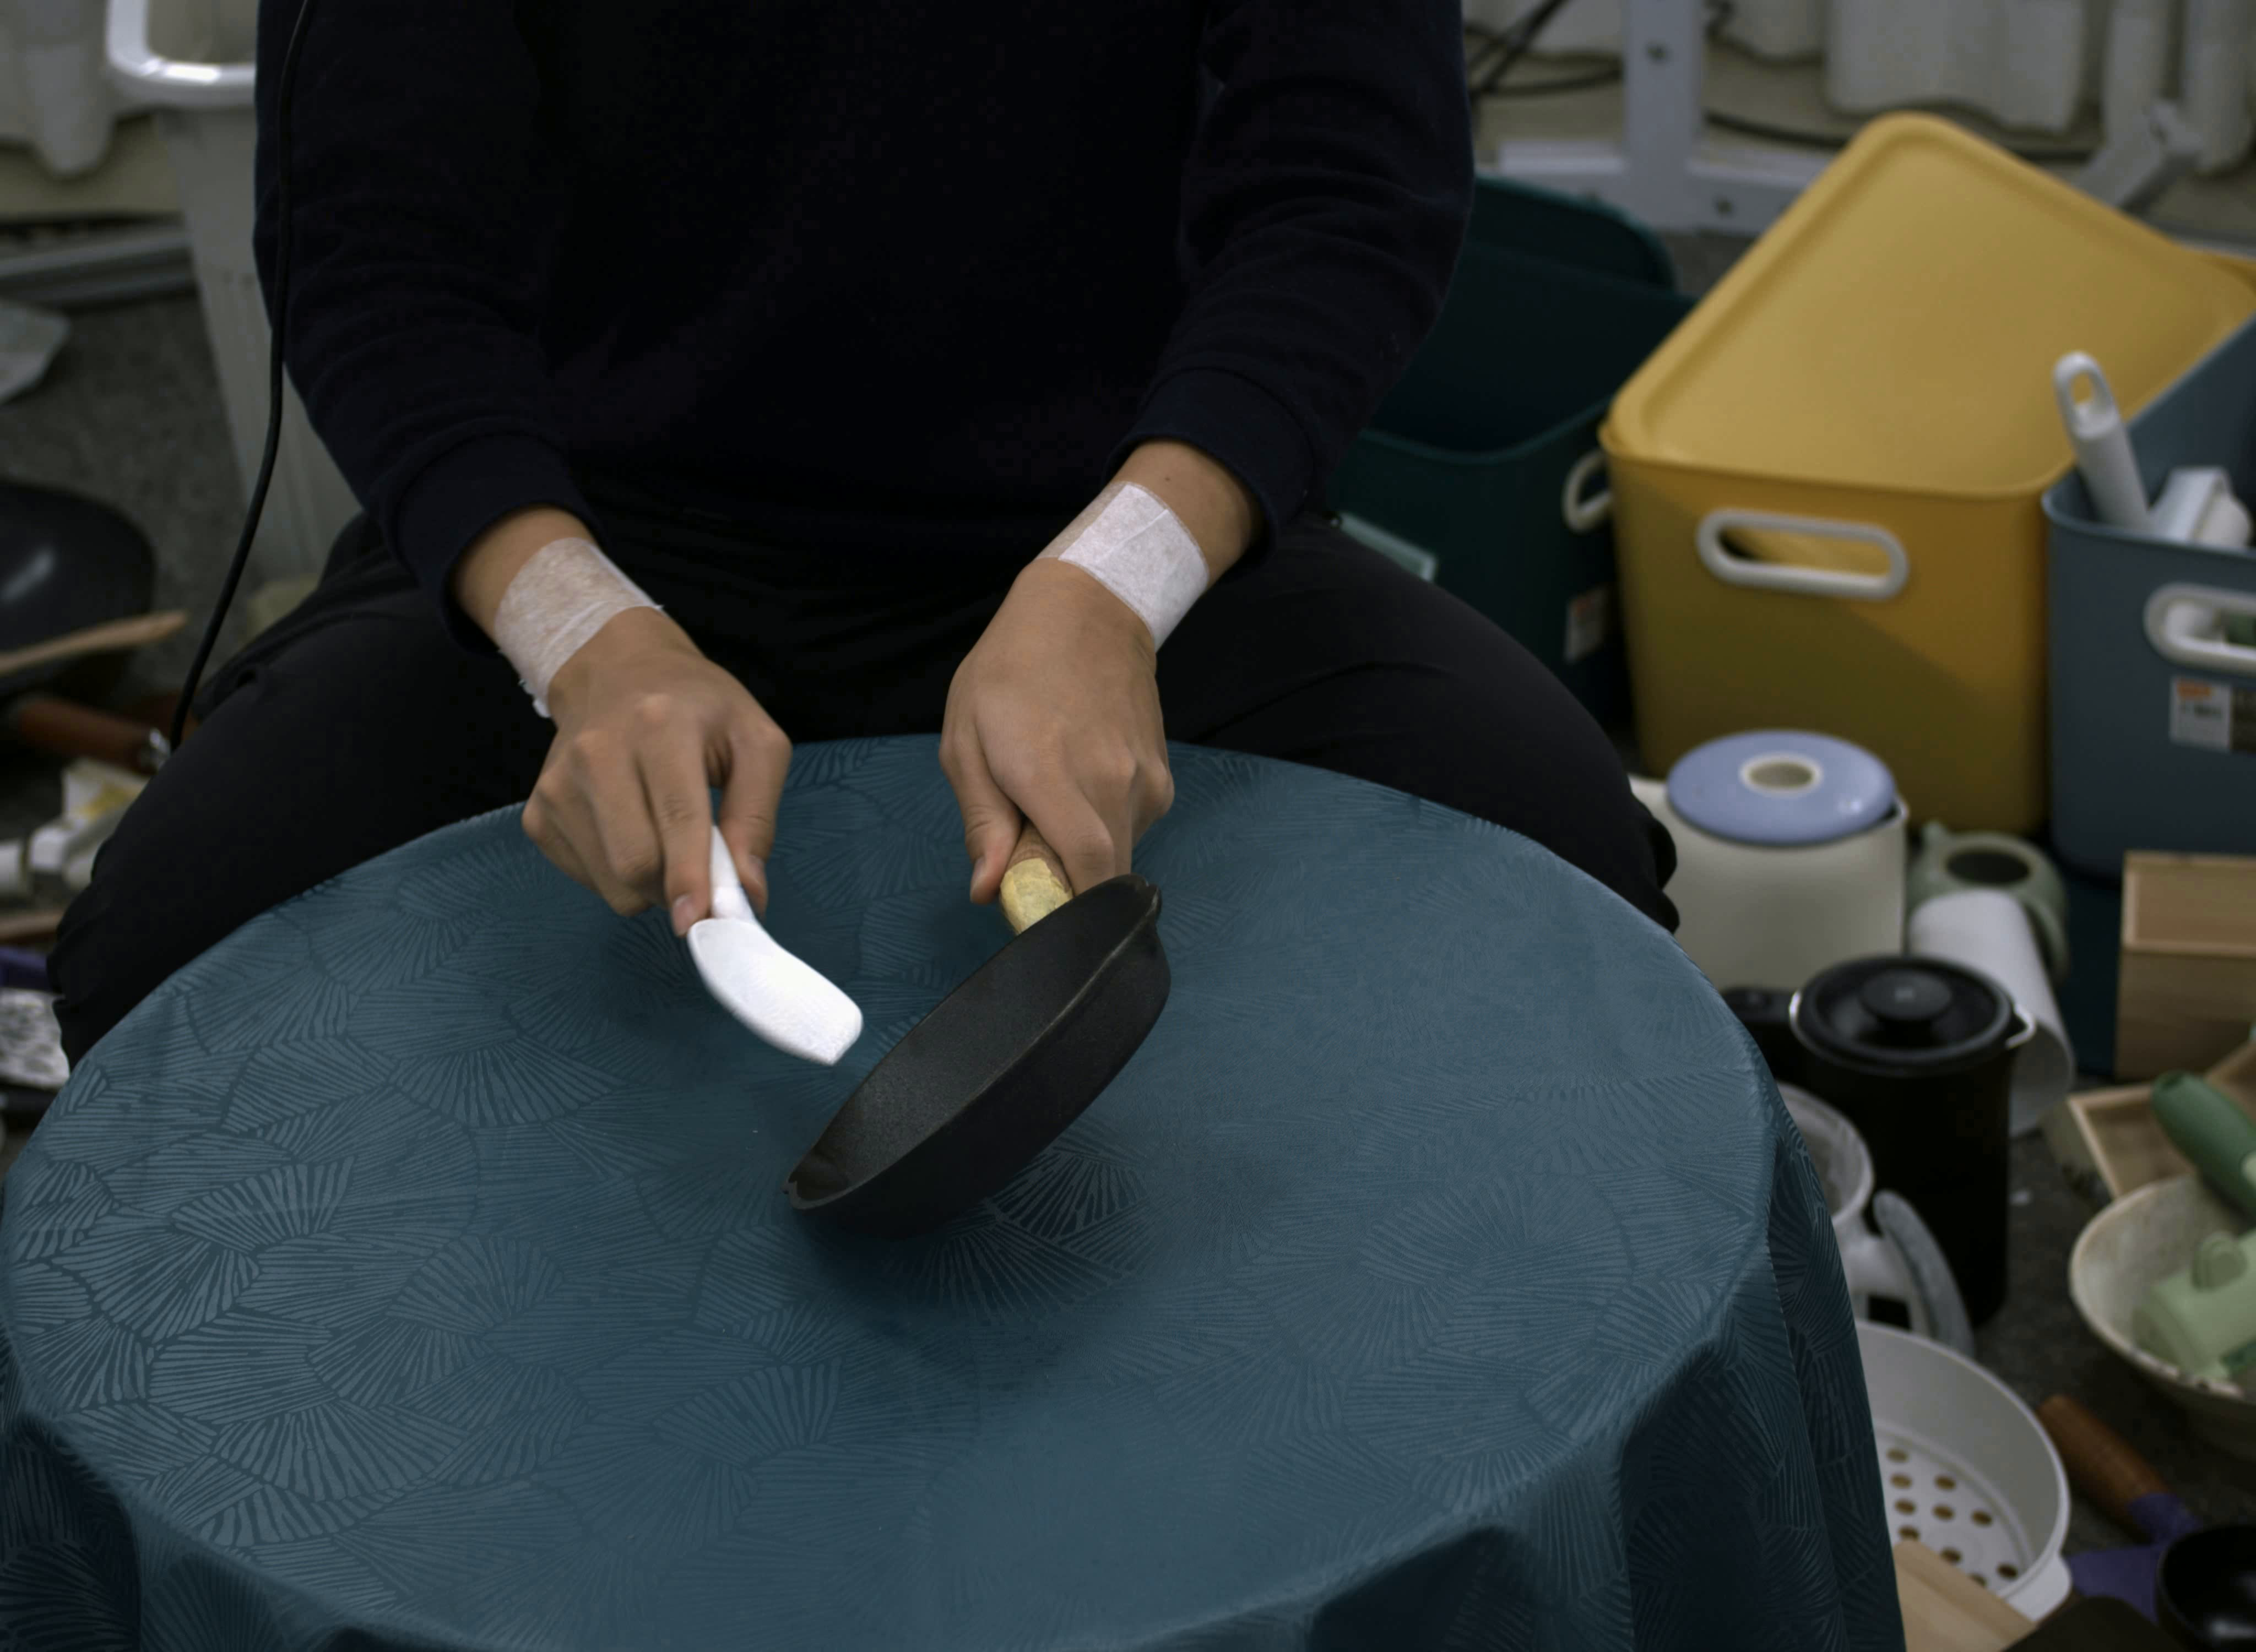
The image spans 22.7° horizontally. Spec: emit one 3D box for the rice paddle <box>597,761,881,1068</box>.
[{"bbox_3d":[-0.136,0.032,1.912,0.068,0.029,0.207,18,16,-29],"label":"rice paddle"}]

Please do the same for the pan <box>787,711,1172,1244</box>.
[{"bbox_3d":[-0.033,0.042,1.910,0.167,0.049,0.329,-38,13,23],"label":"pan"}]
